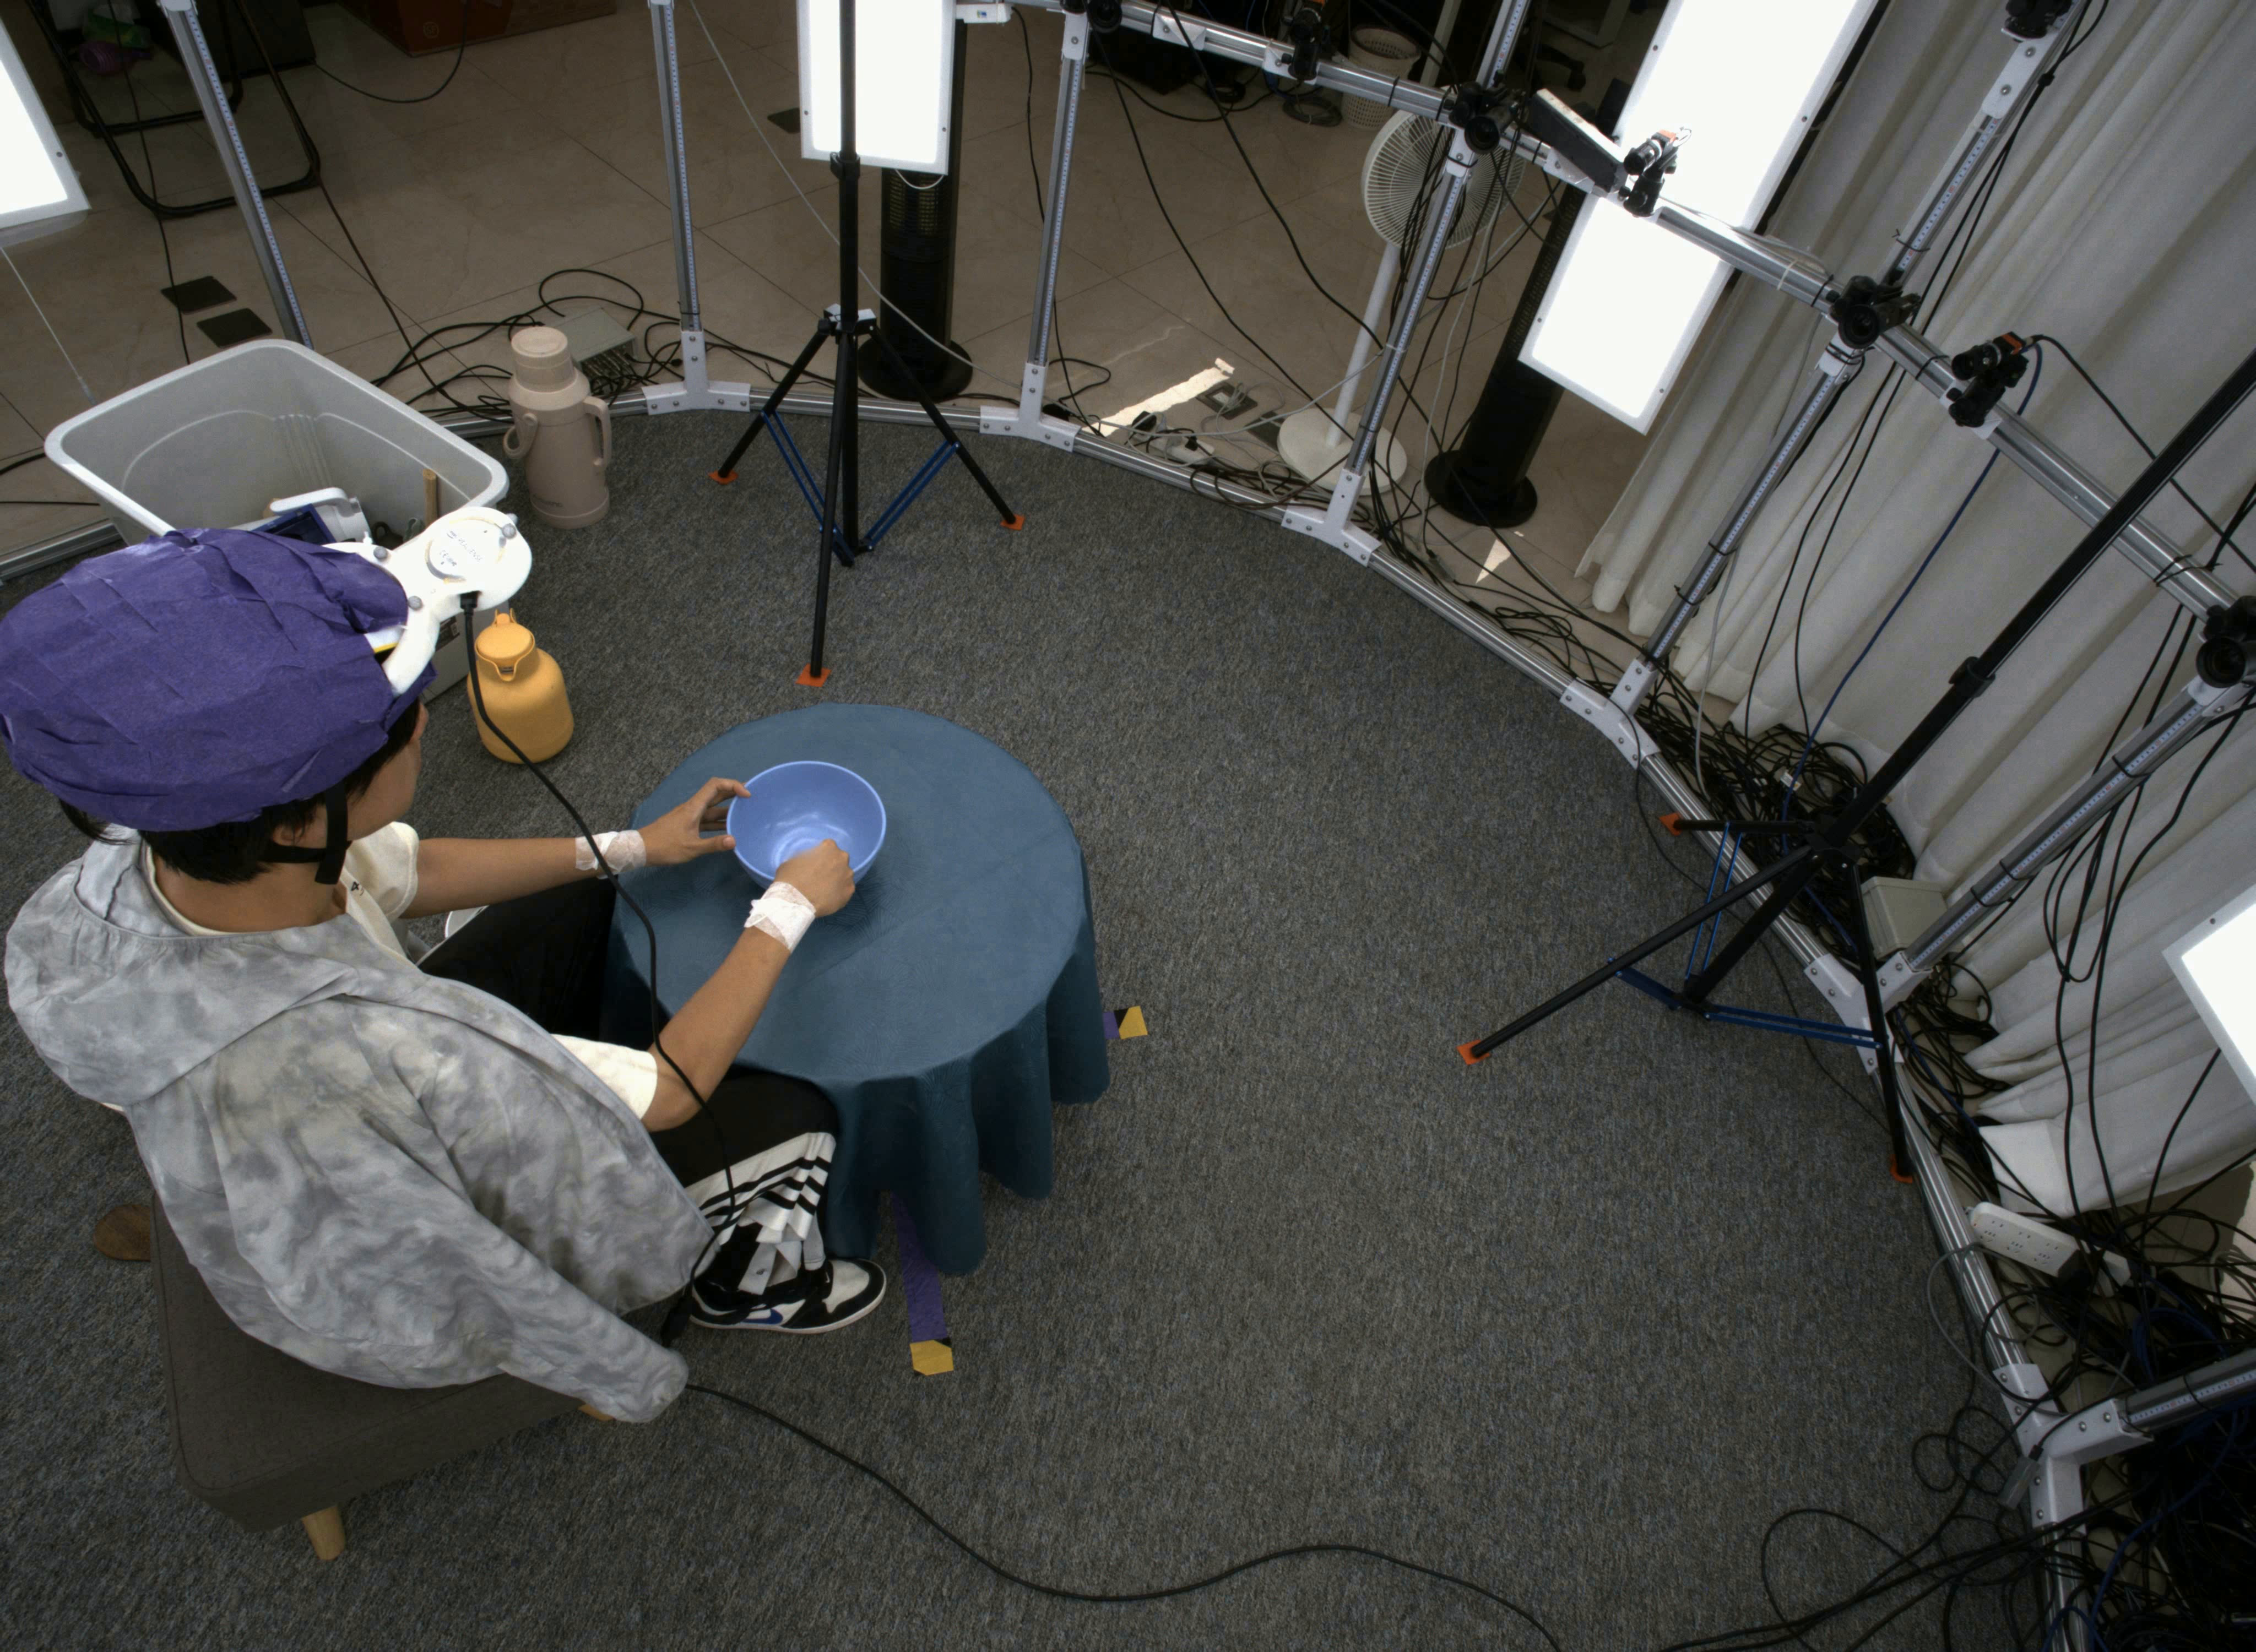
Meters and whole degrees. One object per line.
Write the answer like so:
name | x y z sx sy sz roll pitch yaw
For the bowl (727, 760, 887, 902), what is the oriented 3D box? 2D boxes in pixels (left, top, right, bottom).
bowl | -0.407 0.021 1.653 0.196 0.097 0.193 8 52 -9

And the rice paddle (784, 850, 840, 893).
rice paddle | -0.378 0.044 1.554 0.069 0.030 0.200 -5 10 -14
